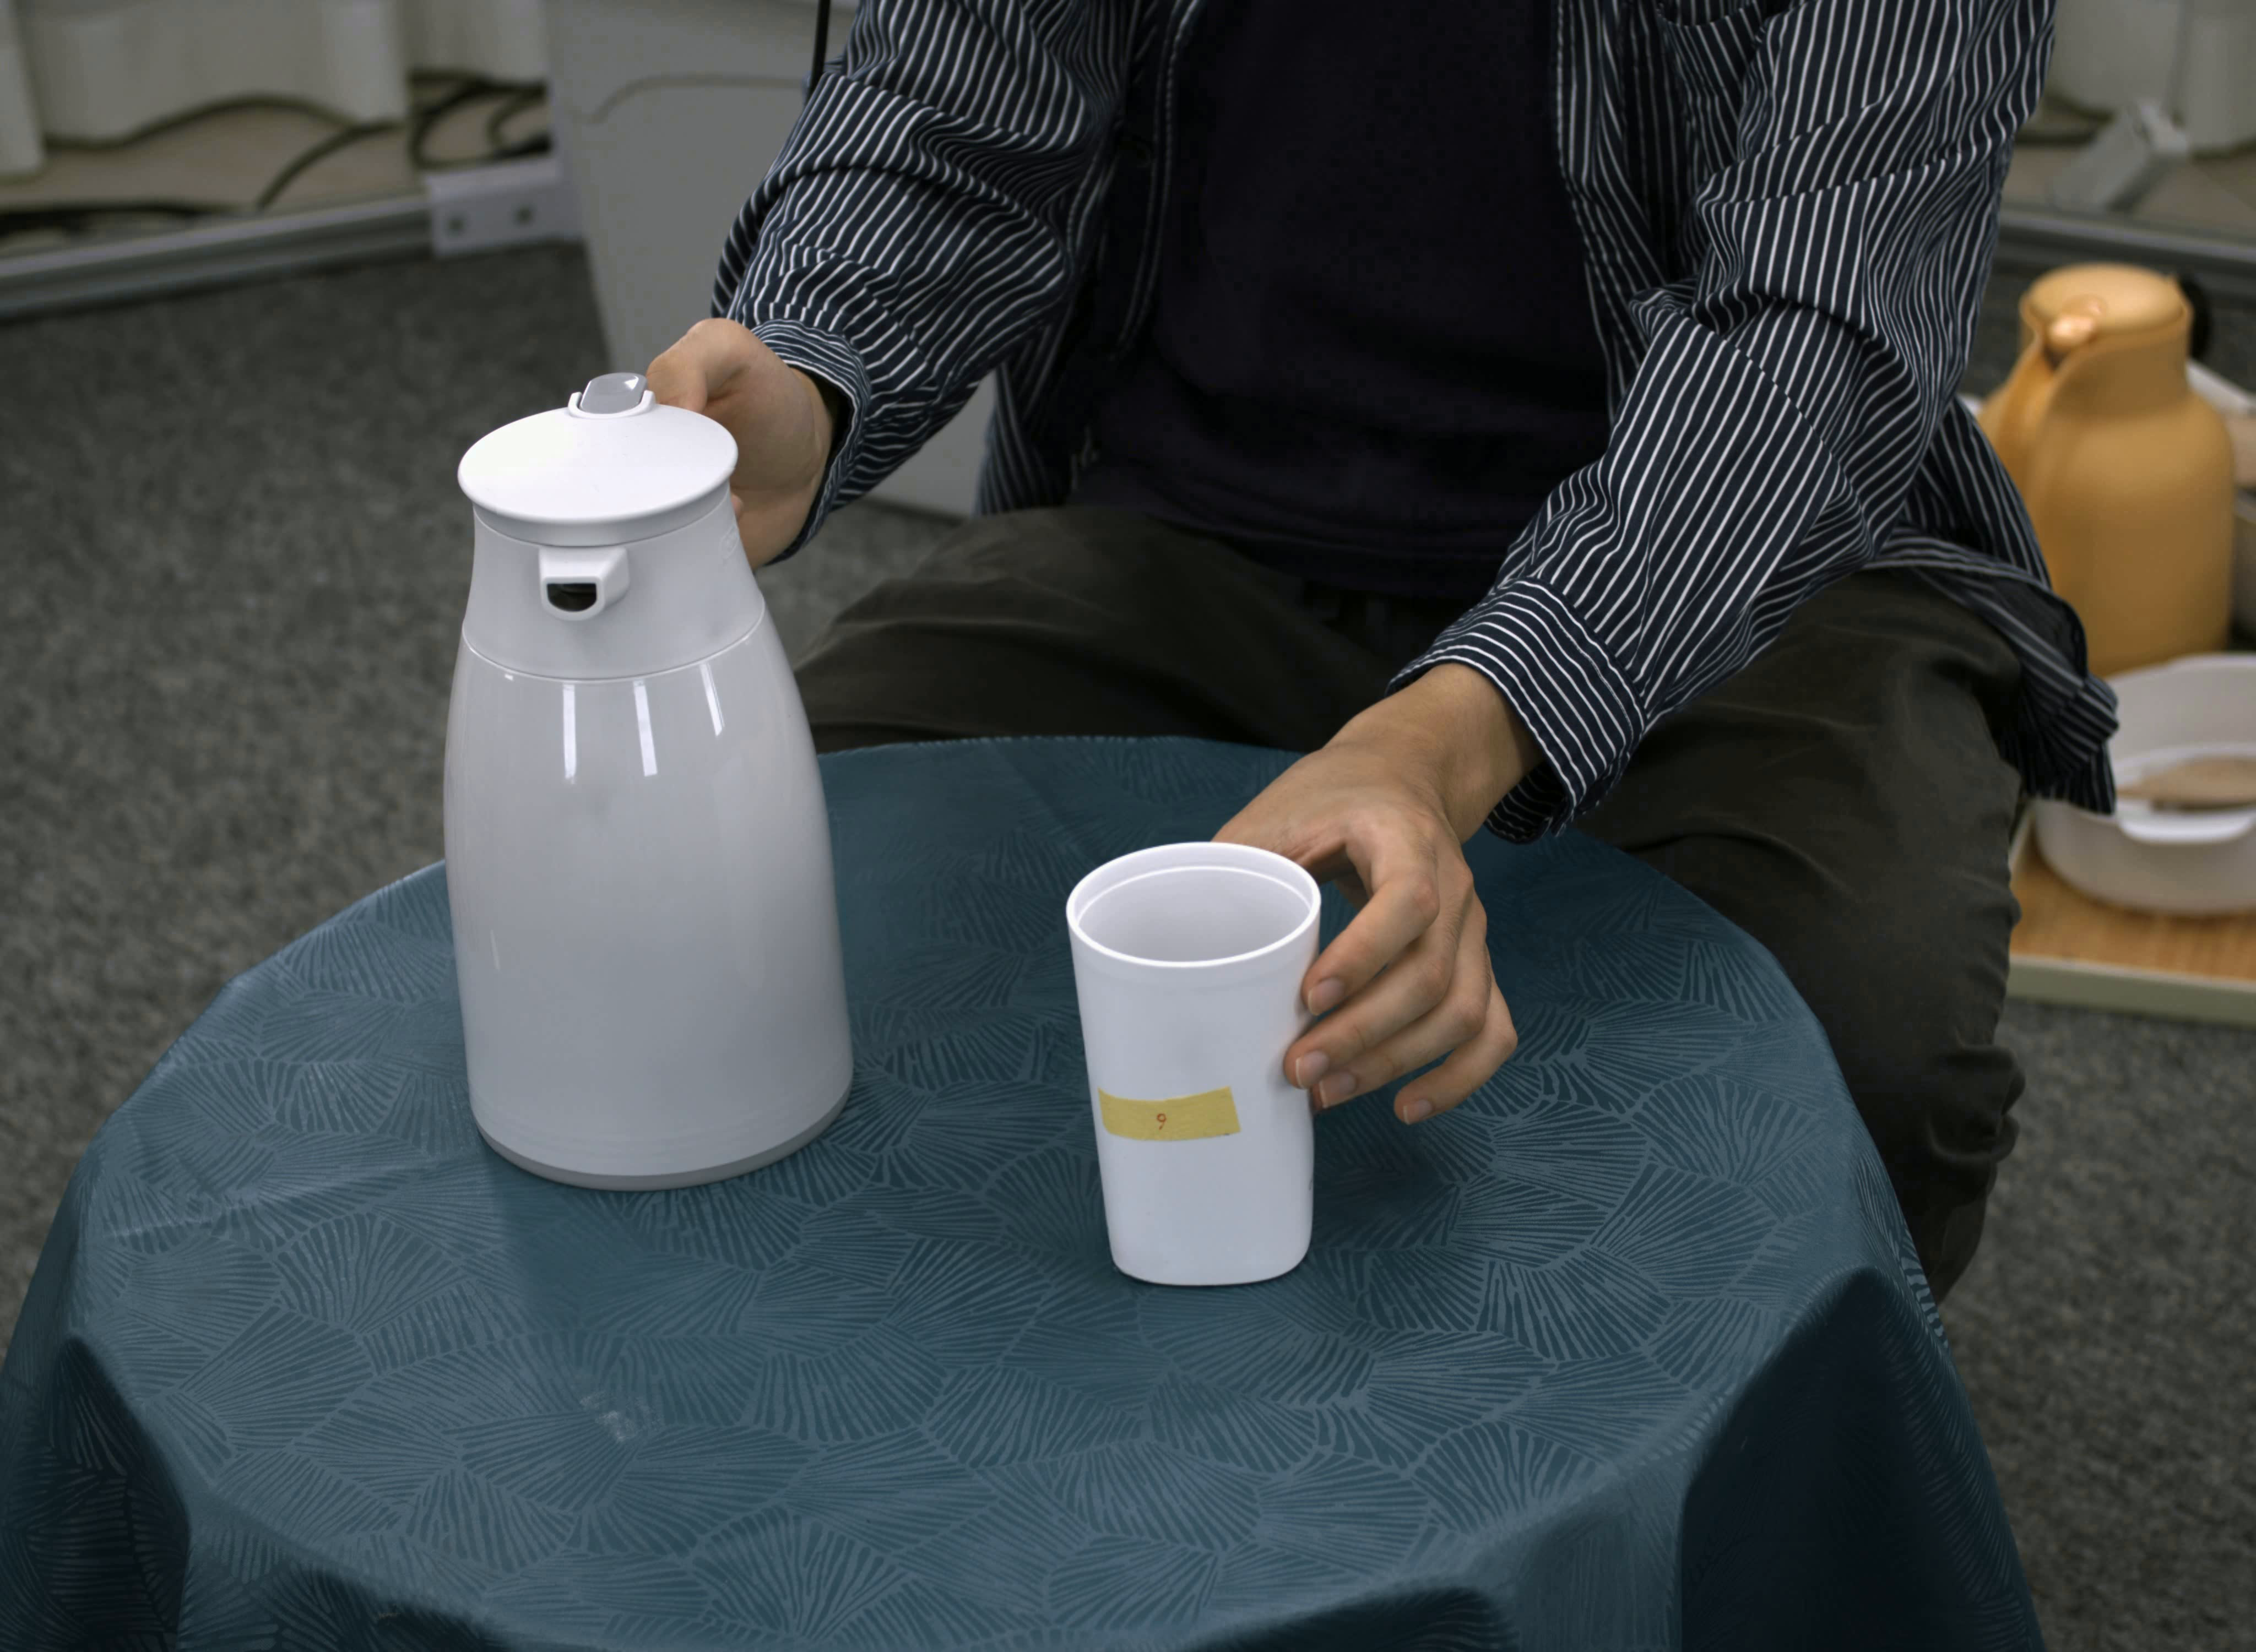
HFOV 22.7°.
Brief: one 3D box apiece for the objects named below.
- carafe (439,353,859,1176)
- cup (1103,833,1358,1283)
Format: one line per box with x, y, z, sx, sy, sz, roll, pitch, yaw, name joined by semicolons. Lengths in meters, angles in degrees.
-0.169;-0.031;1.892;0.132;0.246;0.170;-6;29;0;carafe
0.037;0.077;1.797;0.081;0.124;0.083;-4;26;2;cup
